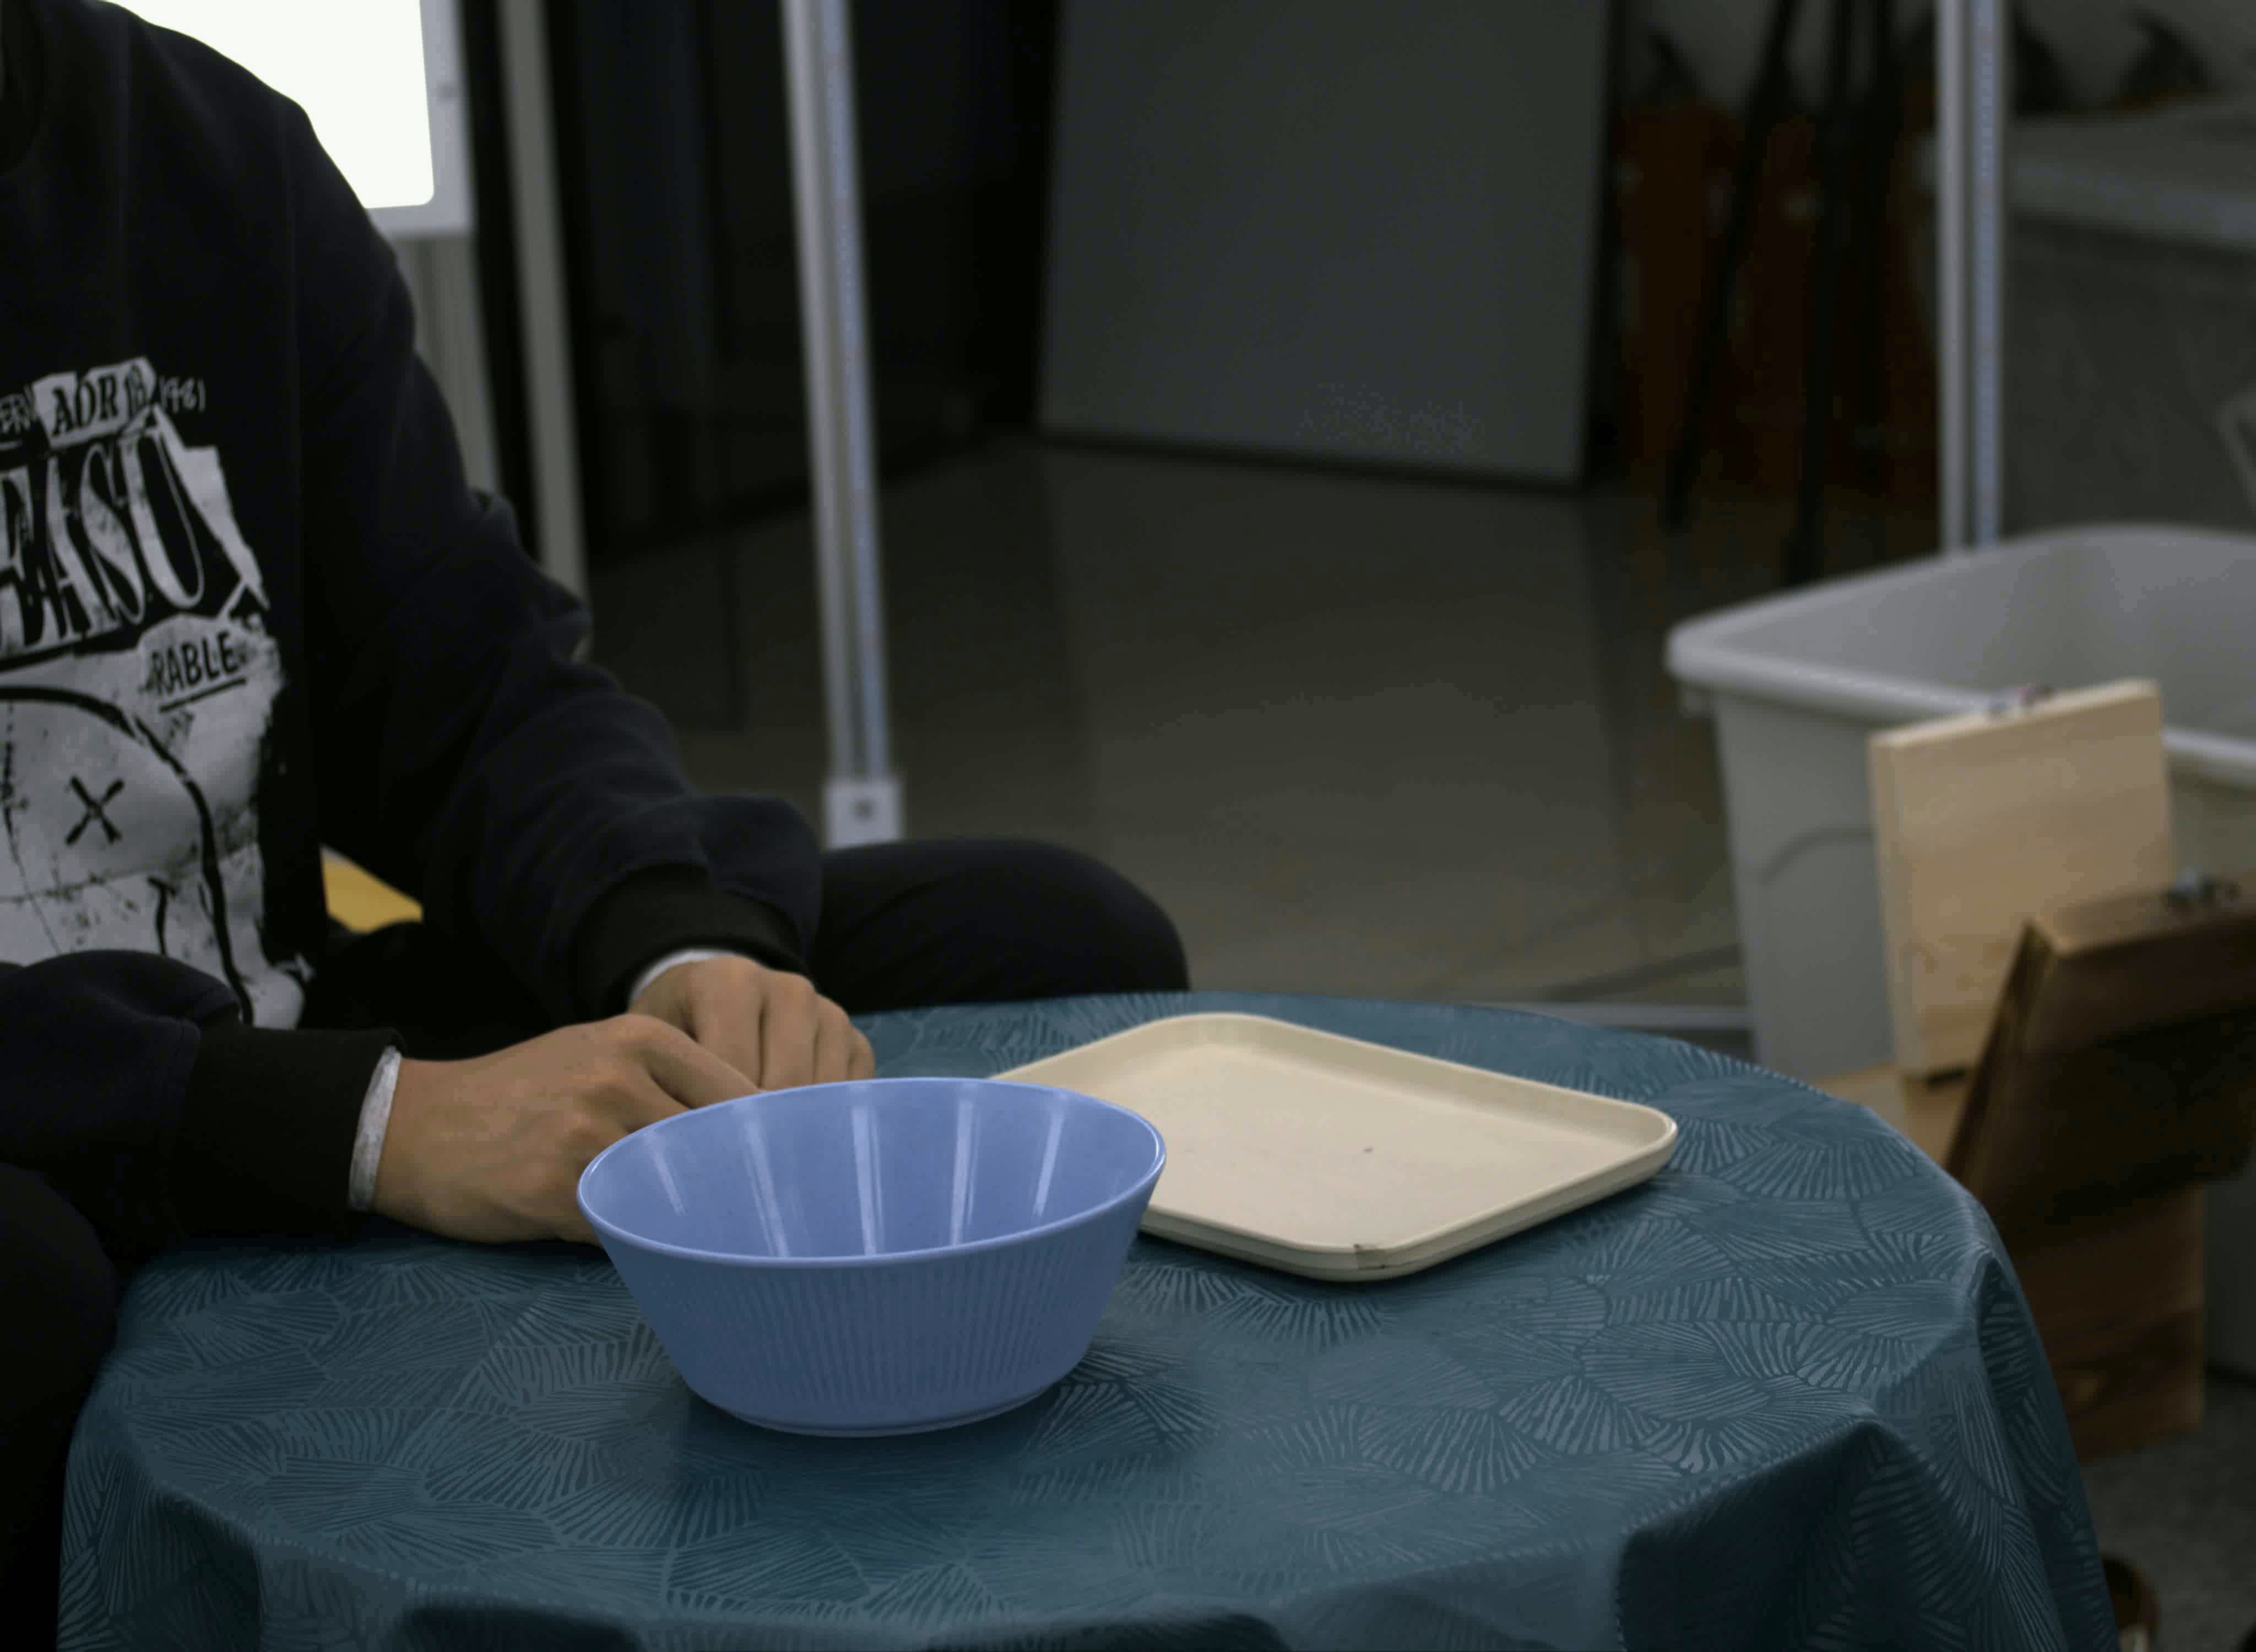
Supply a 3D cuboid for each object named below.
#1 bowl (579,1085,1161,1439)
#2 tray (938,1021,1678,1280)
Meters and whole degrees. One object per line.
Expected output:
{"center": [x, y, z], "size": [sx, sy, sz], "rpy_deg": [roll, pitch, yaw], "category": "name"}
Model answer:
{"center": [-0.074, 0.132, 1.603], "size": [0.174, 0.071, 0.176], "rpy_deg": [-4, 13, 0], "category": "bowl"}
{"center": [0.051, 0.106, 1.780], "size": [0.167, 0.017, 0.242], "rpy_deg": [-15, 18, -41], "category": "tray"}
